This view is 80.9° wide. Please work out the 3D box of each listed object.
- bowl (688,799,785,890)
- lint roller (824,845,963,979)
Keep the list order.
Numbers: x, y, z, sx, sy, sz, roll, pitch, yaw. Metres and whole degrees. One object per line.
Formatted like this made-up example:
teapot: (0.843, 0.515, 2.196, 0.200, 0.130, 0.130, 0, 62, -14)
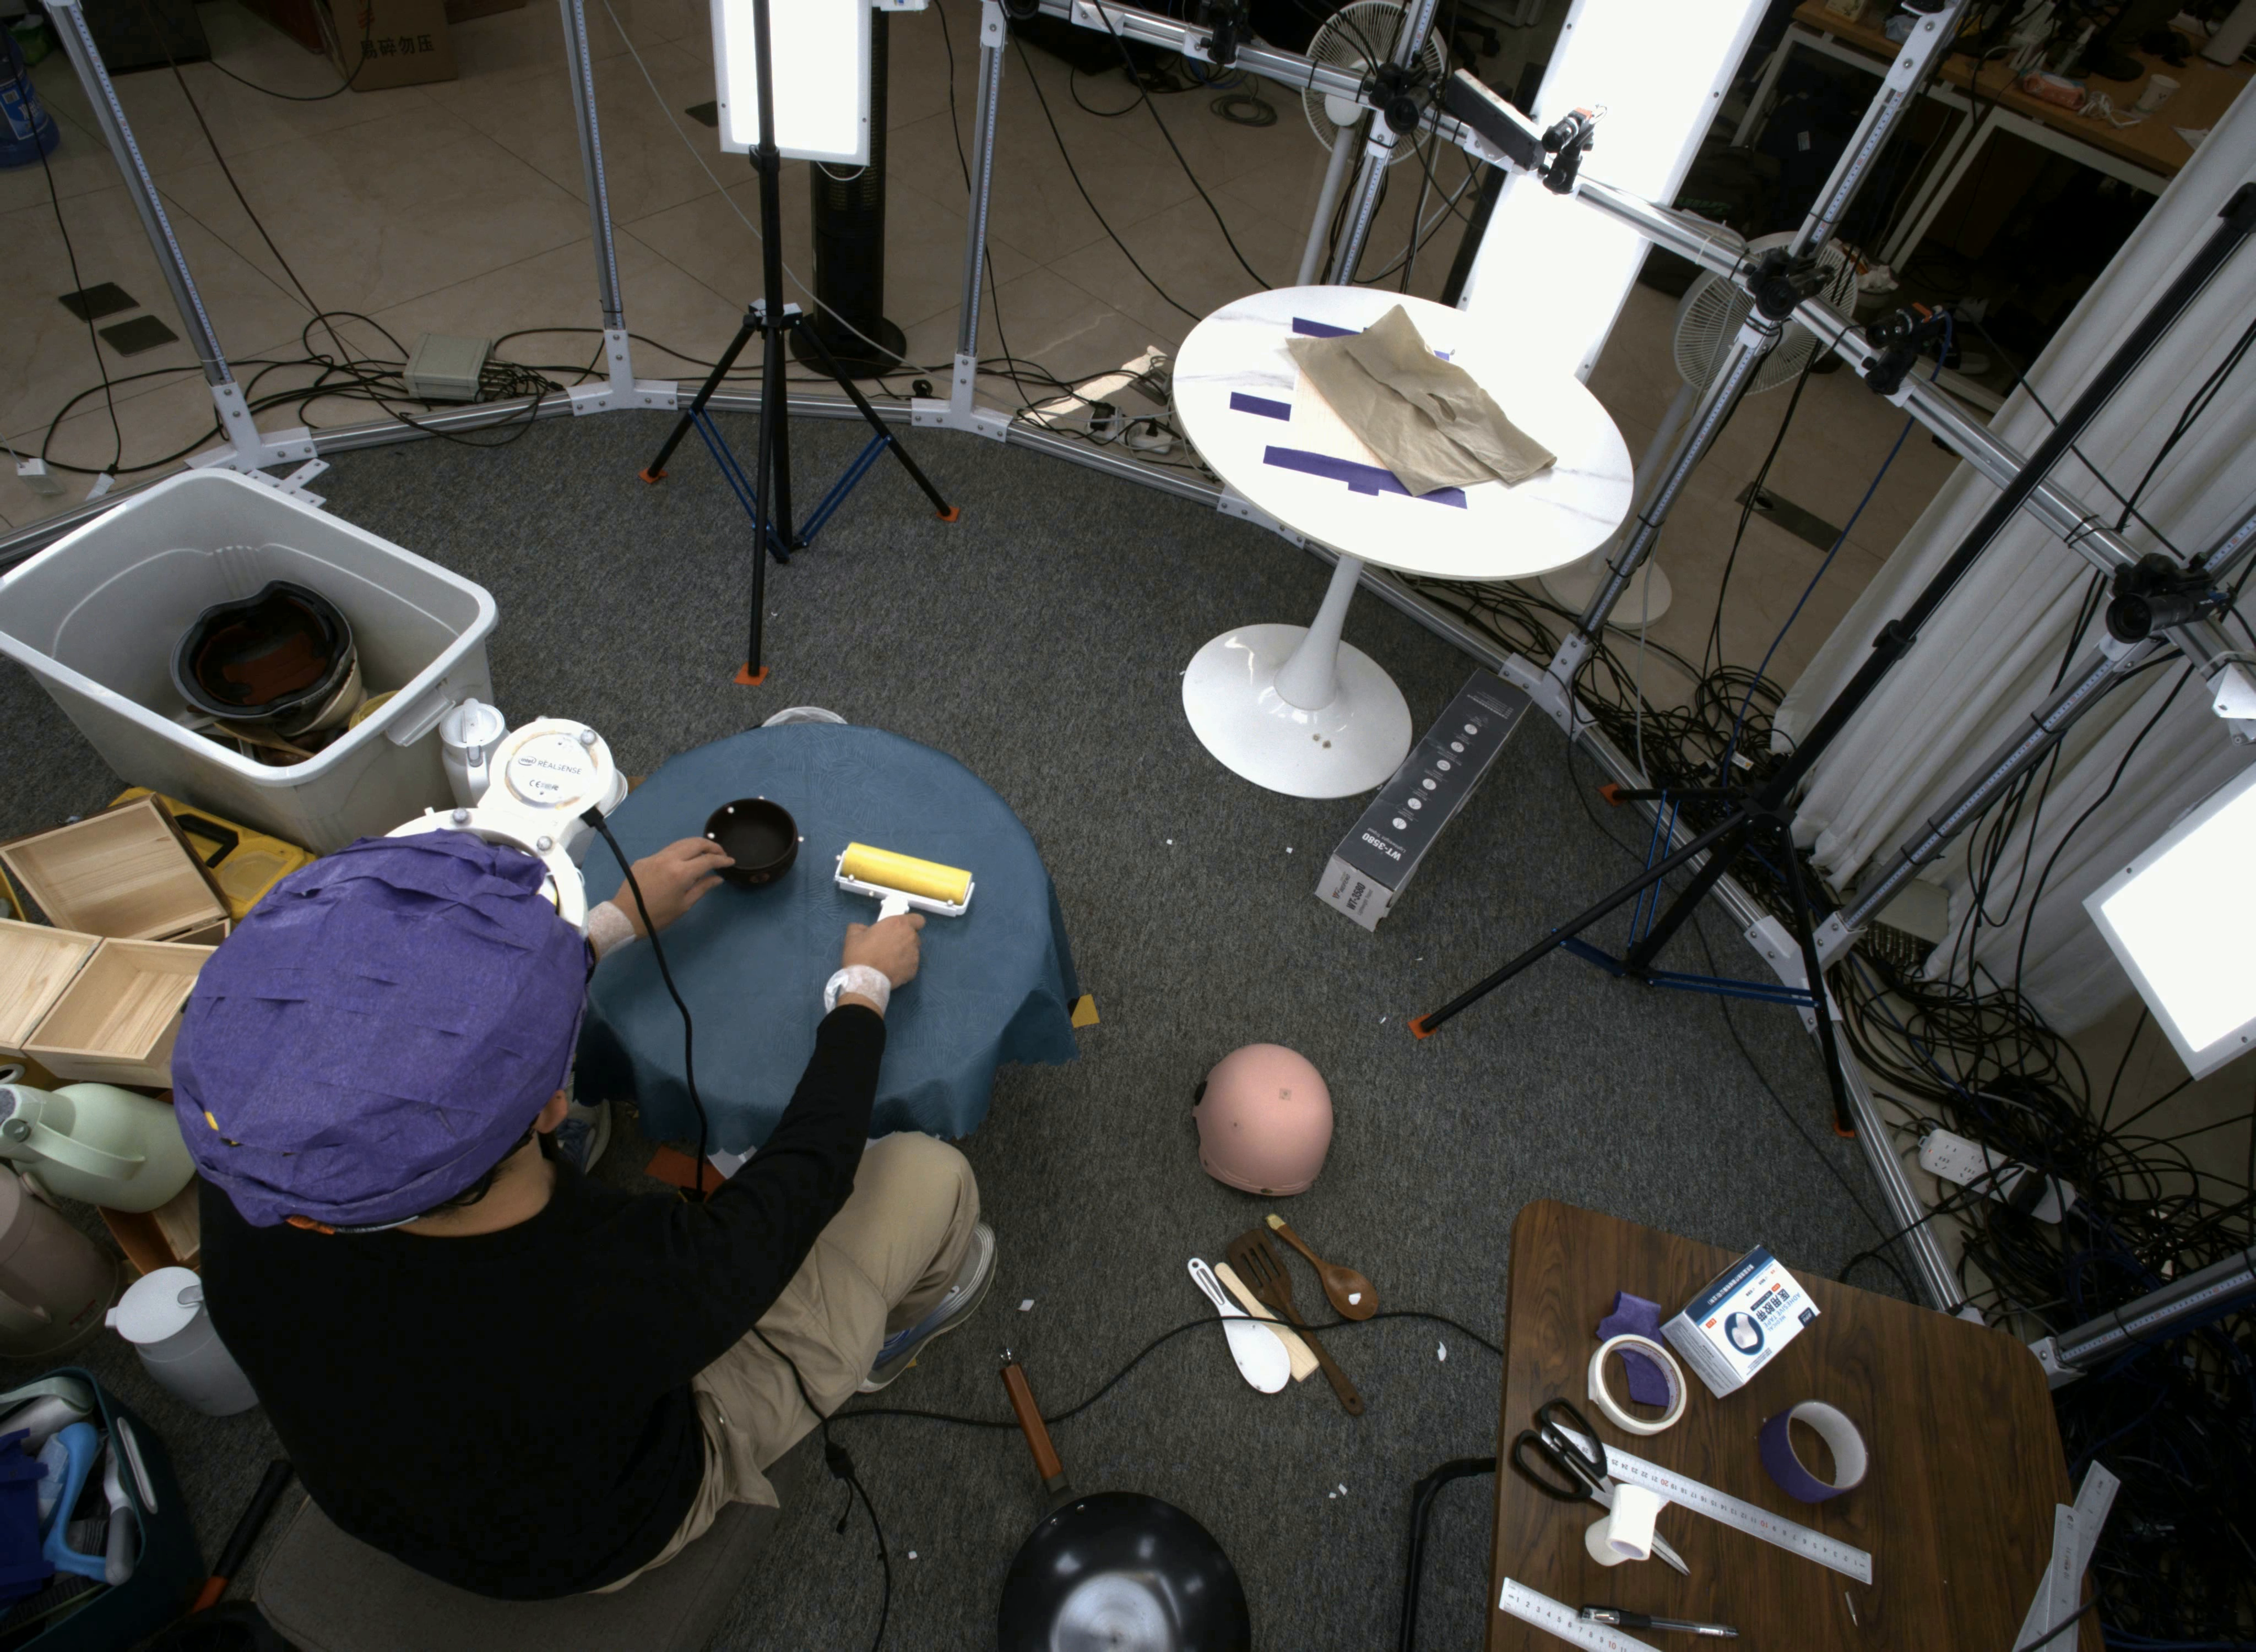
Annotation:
bowl: (-0.492, 0.030, 1.630, 0.118, 0.071, 0.116, 7, 51, -8)
lint roller: (-0.306, 0.106, 1.622, 0.173, 0.052, 0.188, 12, 37, -5)
